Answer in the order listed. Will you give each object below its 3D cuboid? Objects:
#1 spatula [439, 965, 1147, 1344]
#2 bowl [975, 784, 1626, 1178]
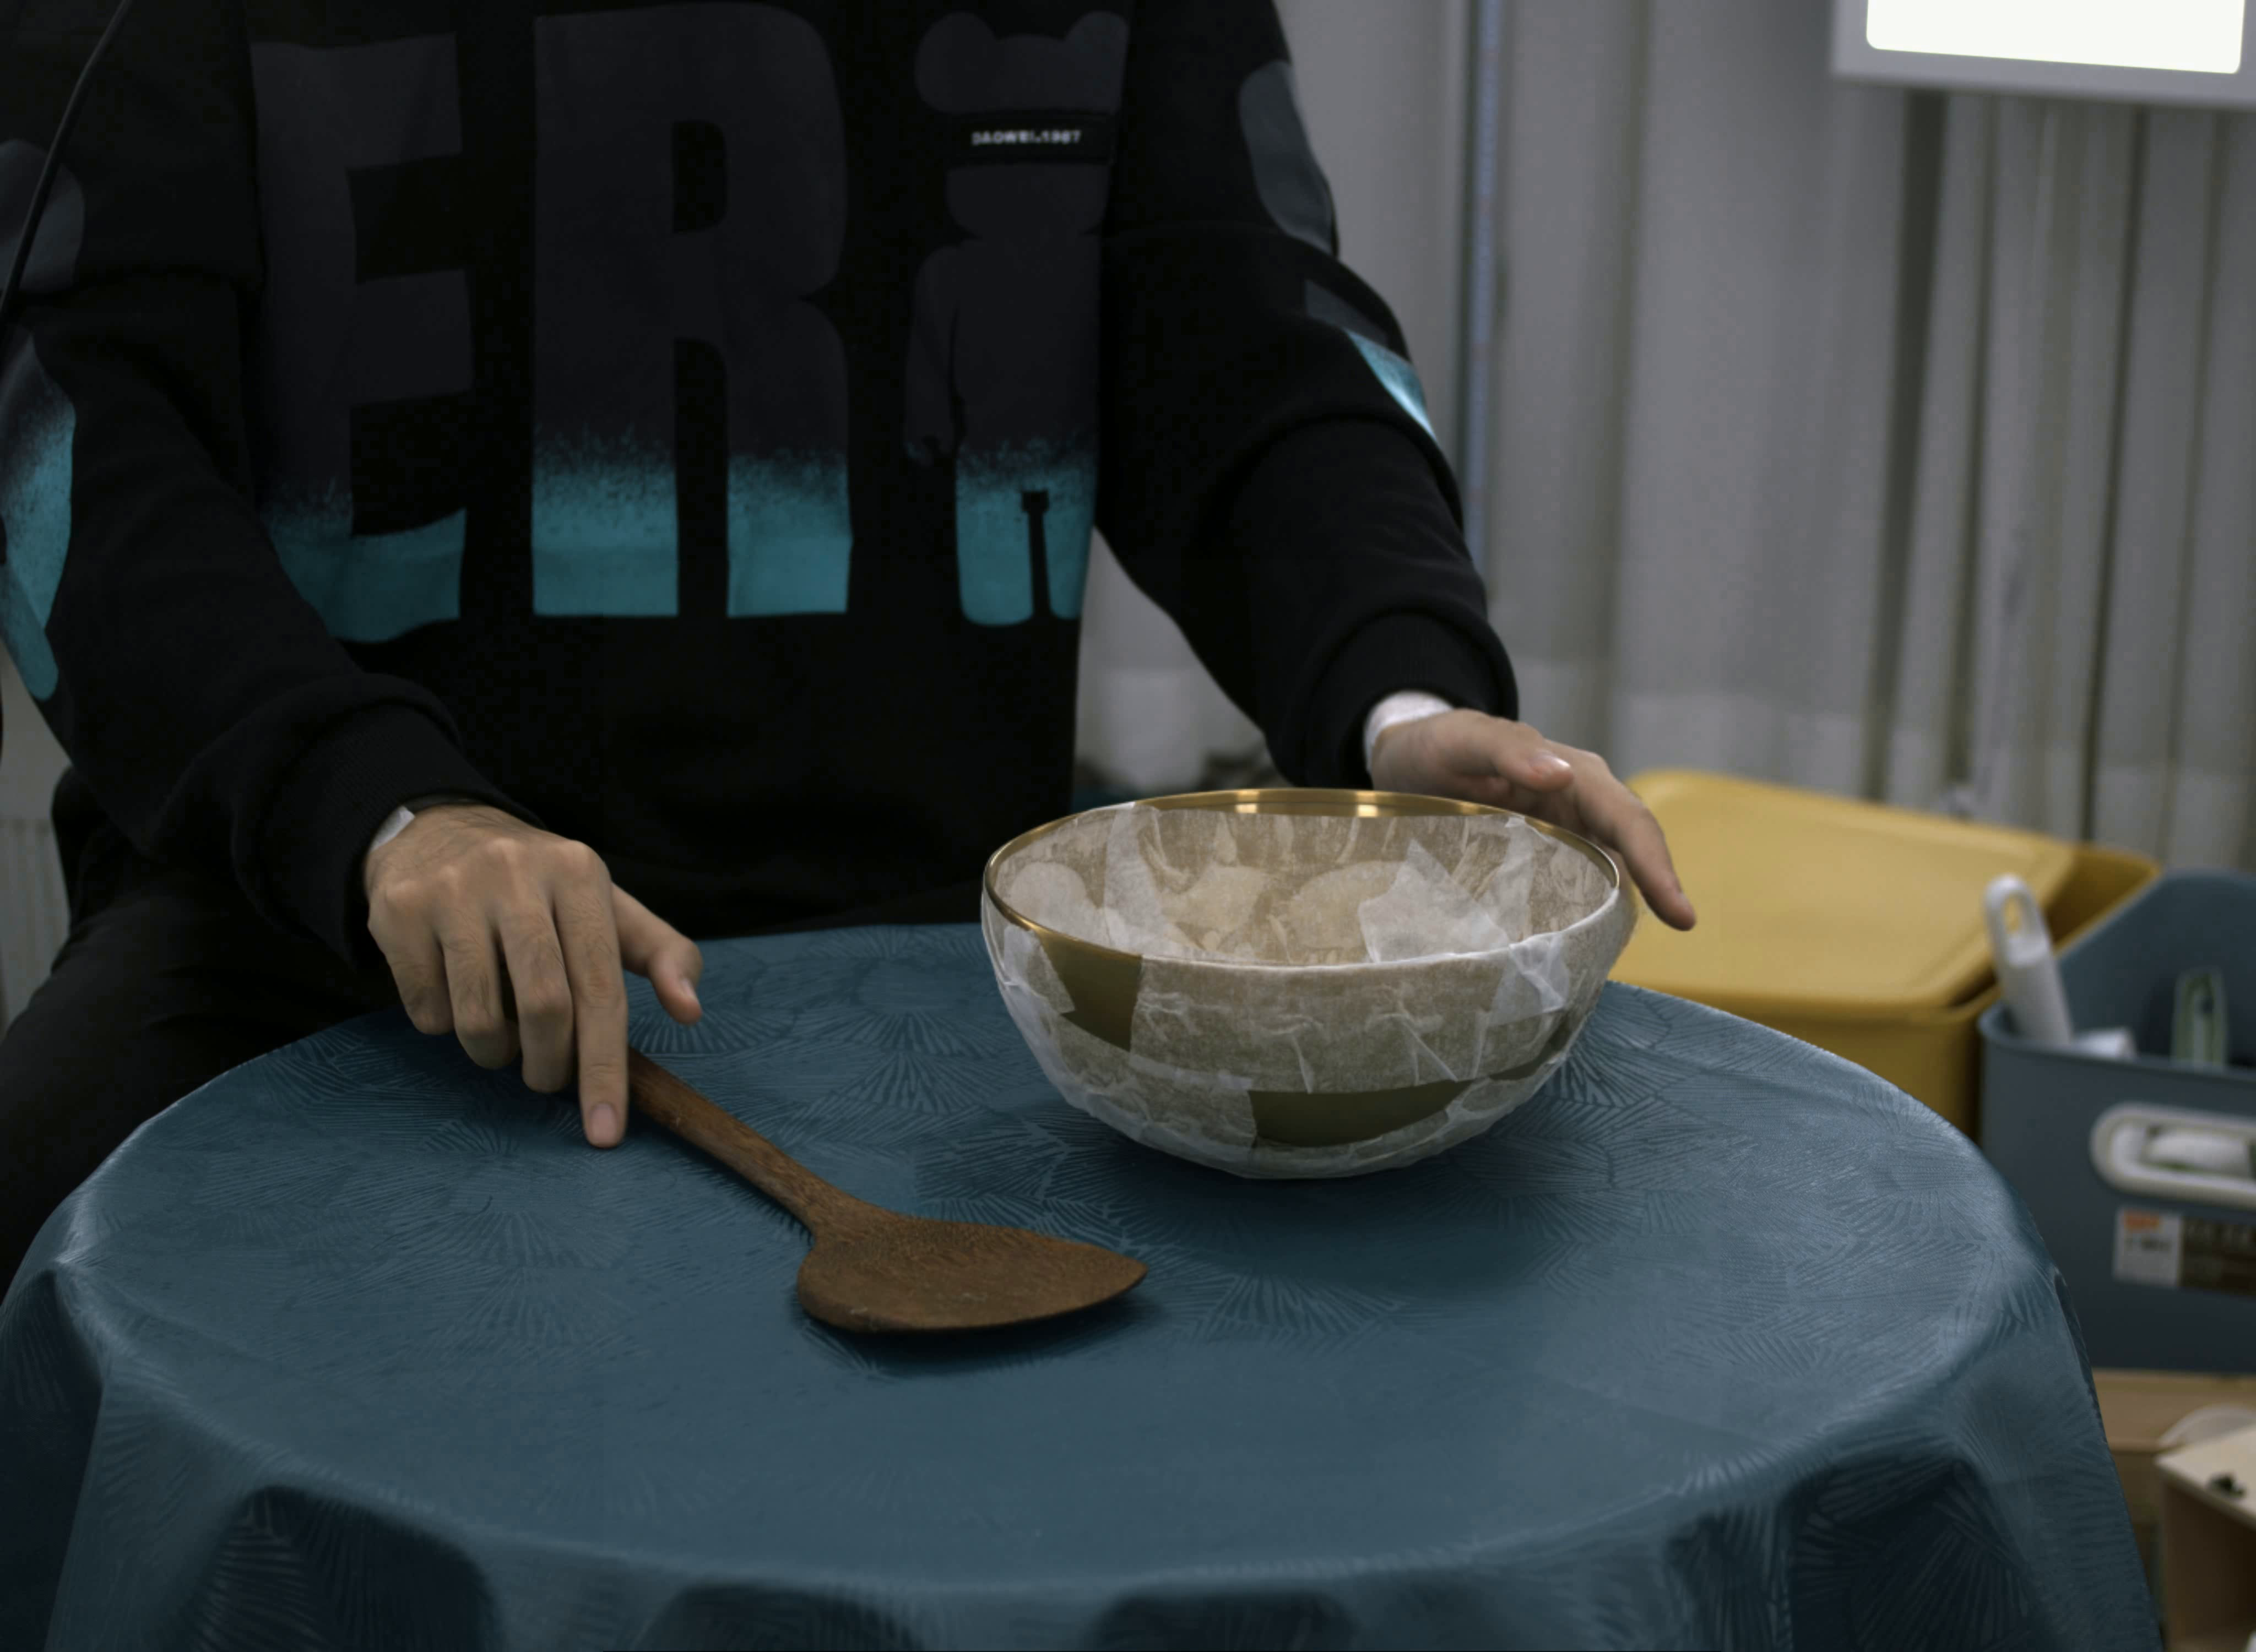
[{"bbox_3d":[-0.127,0.096,1.645,0.096,0.016,0.381,-8,19,-31],"label":"spatula"},{"bbox_3d":[0.056,0.056,1.658,0.214,0.095,0.213,-1,15,1],"label":"bowl"}]
